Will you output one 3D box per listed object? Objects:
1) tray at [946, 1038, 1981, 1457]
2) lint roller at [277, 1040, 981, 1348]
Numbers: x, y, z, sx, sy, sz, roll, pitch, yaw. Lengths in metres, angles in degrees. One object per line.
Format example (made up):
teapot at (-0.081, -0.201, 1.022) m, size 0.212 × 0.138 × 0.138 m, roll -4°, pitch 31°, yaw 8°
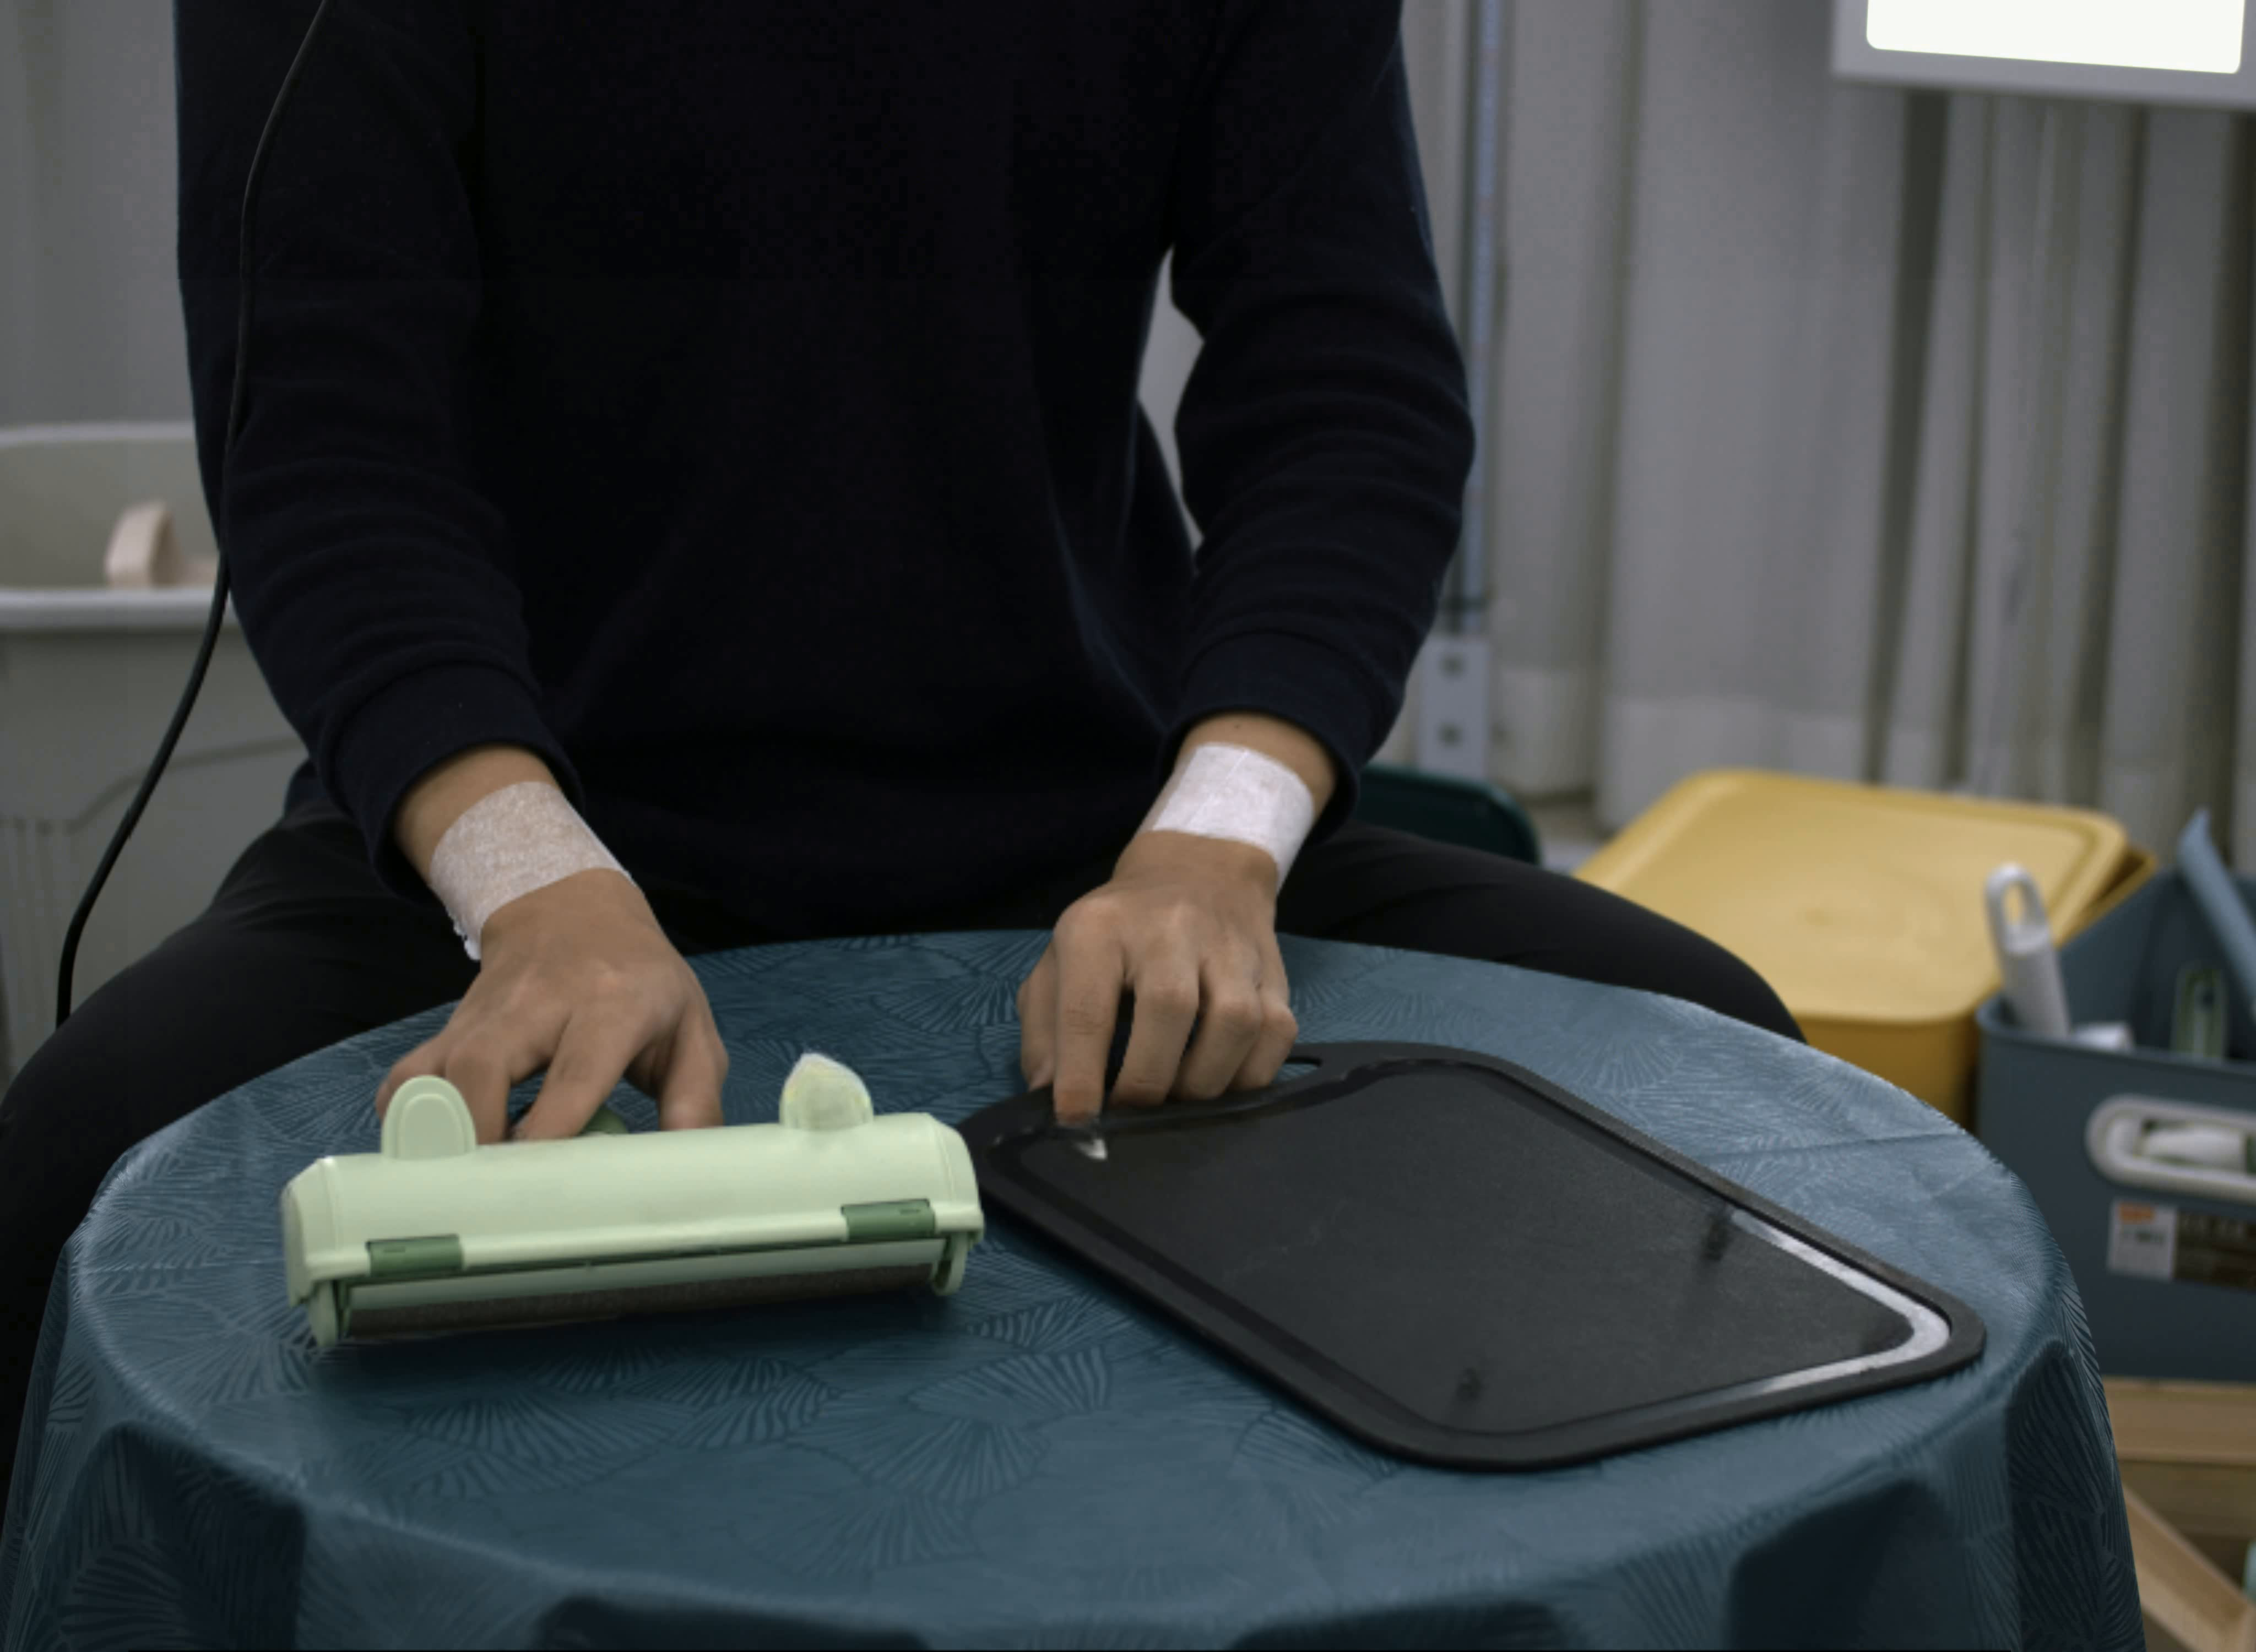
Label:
tray at (0.089, 0.117, 1.573) m, size 0.212 × 0.010 × 0.321 m, roll -8°, pitch 20°, yaw -30°
lint roller at (-0.158, 0.087, 1.548) m, size 0.199 × 0.083 × 0.181 m, roll -3°, pitch 23°, yaw -17°
